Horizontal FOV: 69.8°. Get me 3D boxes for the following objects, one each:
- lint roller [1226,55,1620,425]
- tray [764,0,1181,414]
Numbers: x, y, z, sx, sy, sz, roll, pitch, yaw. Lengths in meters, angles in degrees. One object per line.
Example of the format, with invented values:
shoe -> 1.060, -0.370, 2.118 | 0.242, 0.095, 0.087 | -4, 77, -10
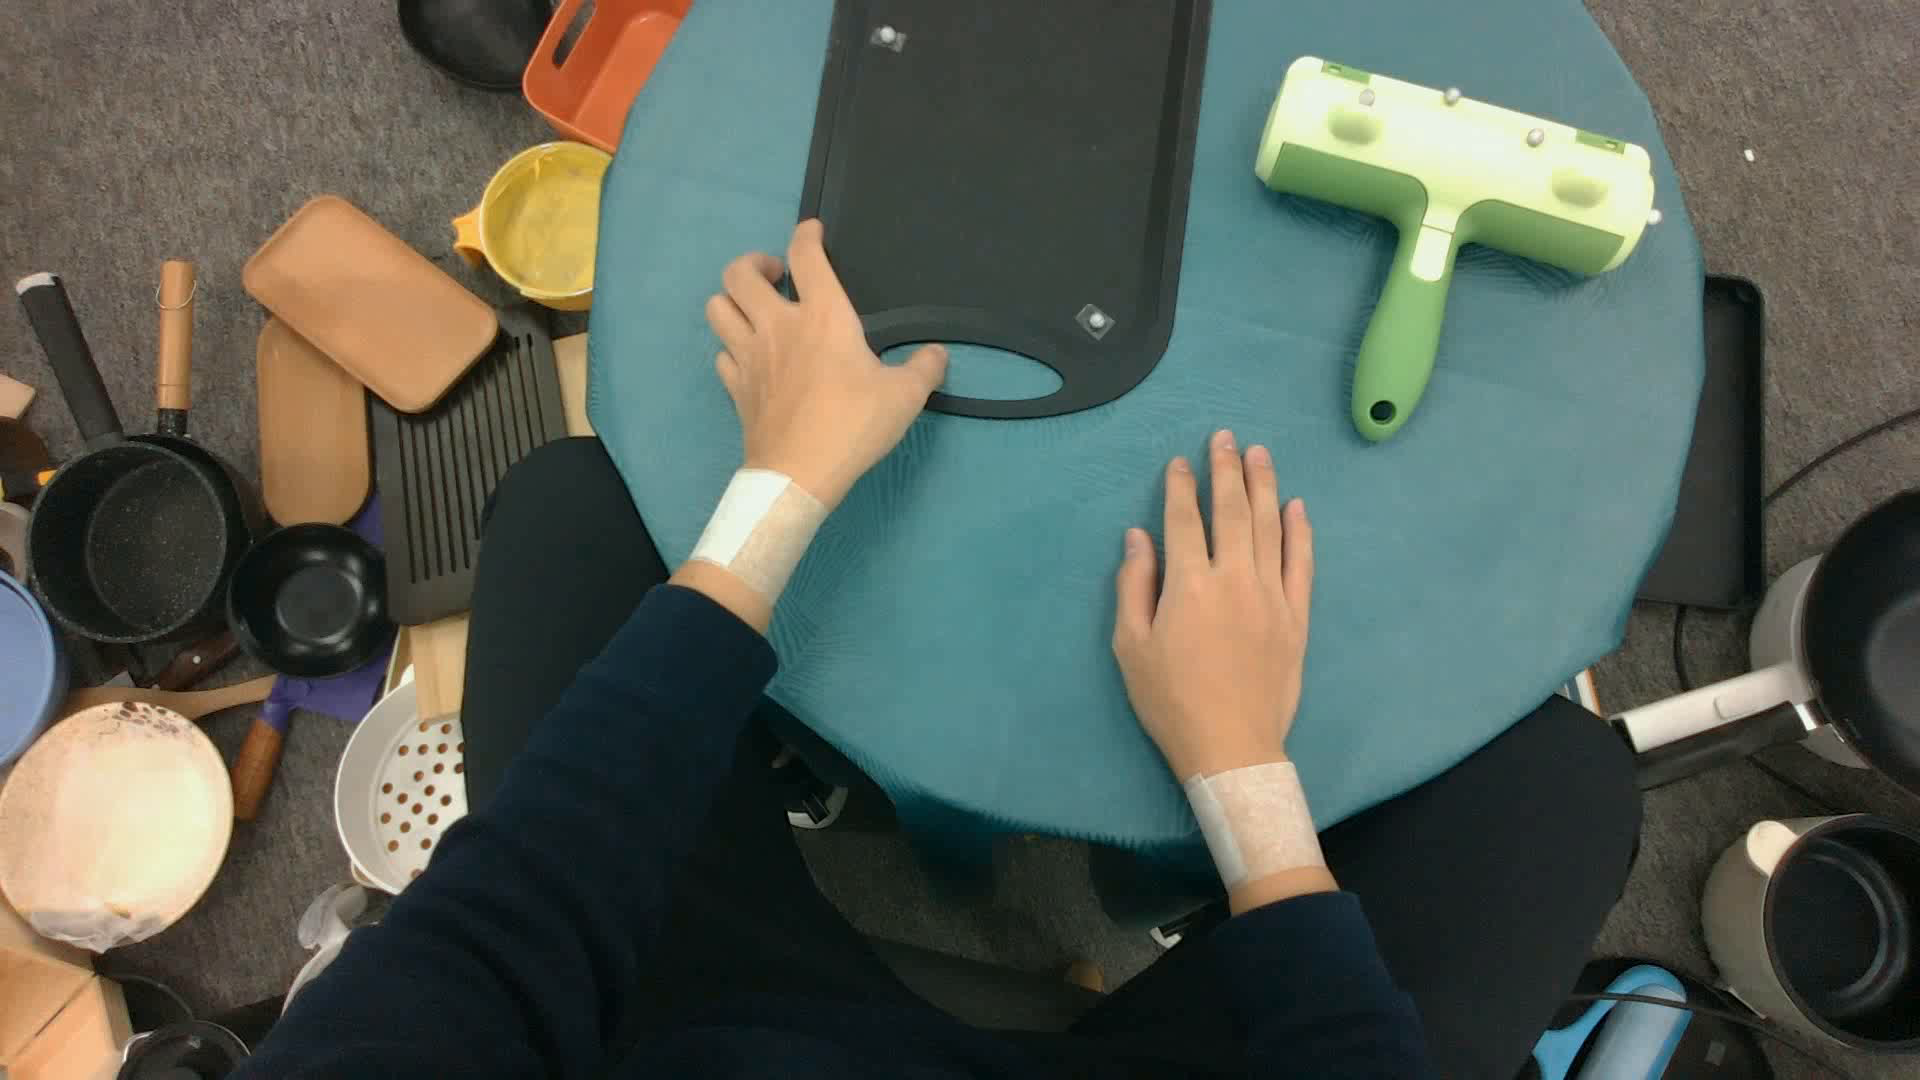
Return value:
lint roller -> 0.229, -0.153, 0.707 | 0.198, 0.082, 0.184 | 14, 72, 4
tray -> 0.010, -0.226, 0.761 | 0.211, 0.010, 0.326 | 7, 78, 1
